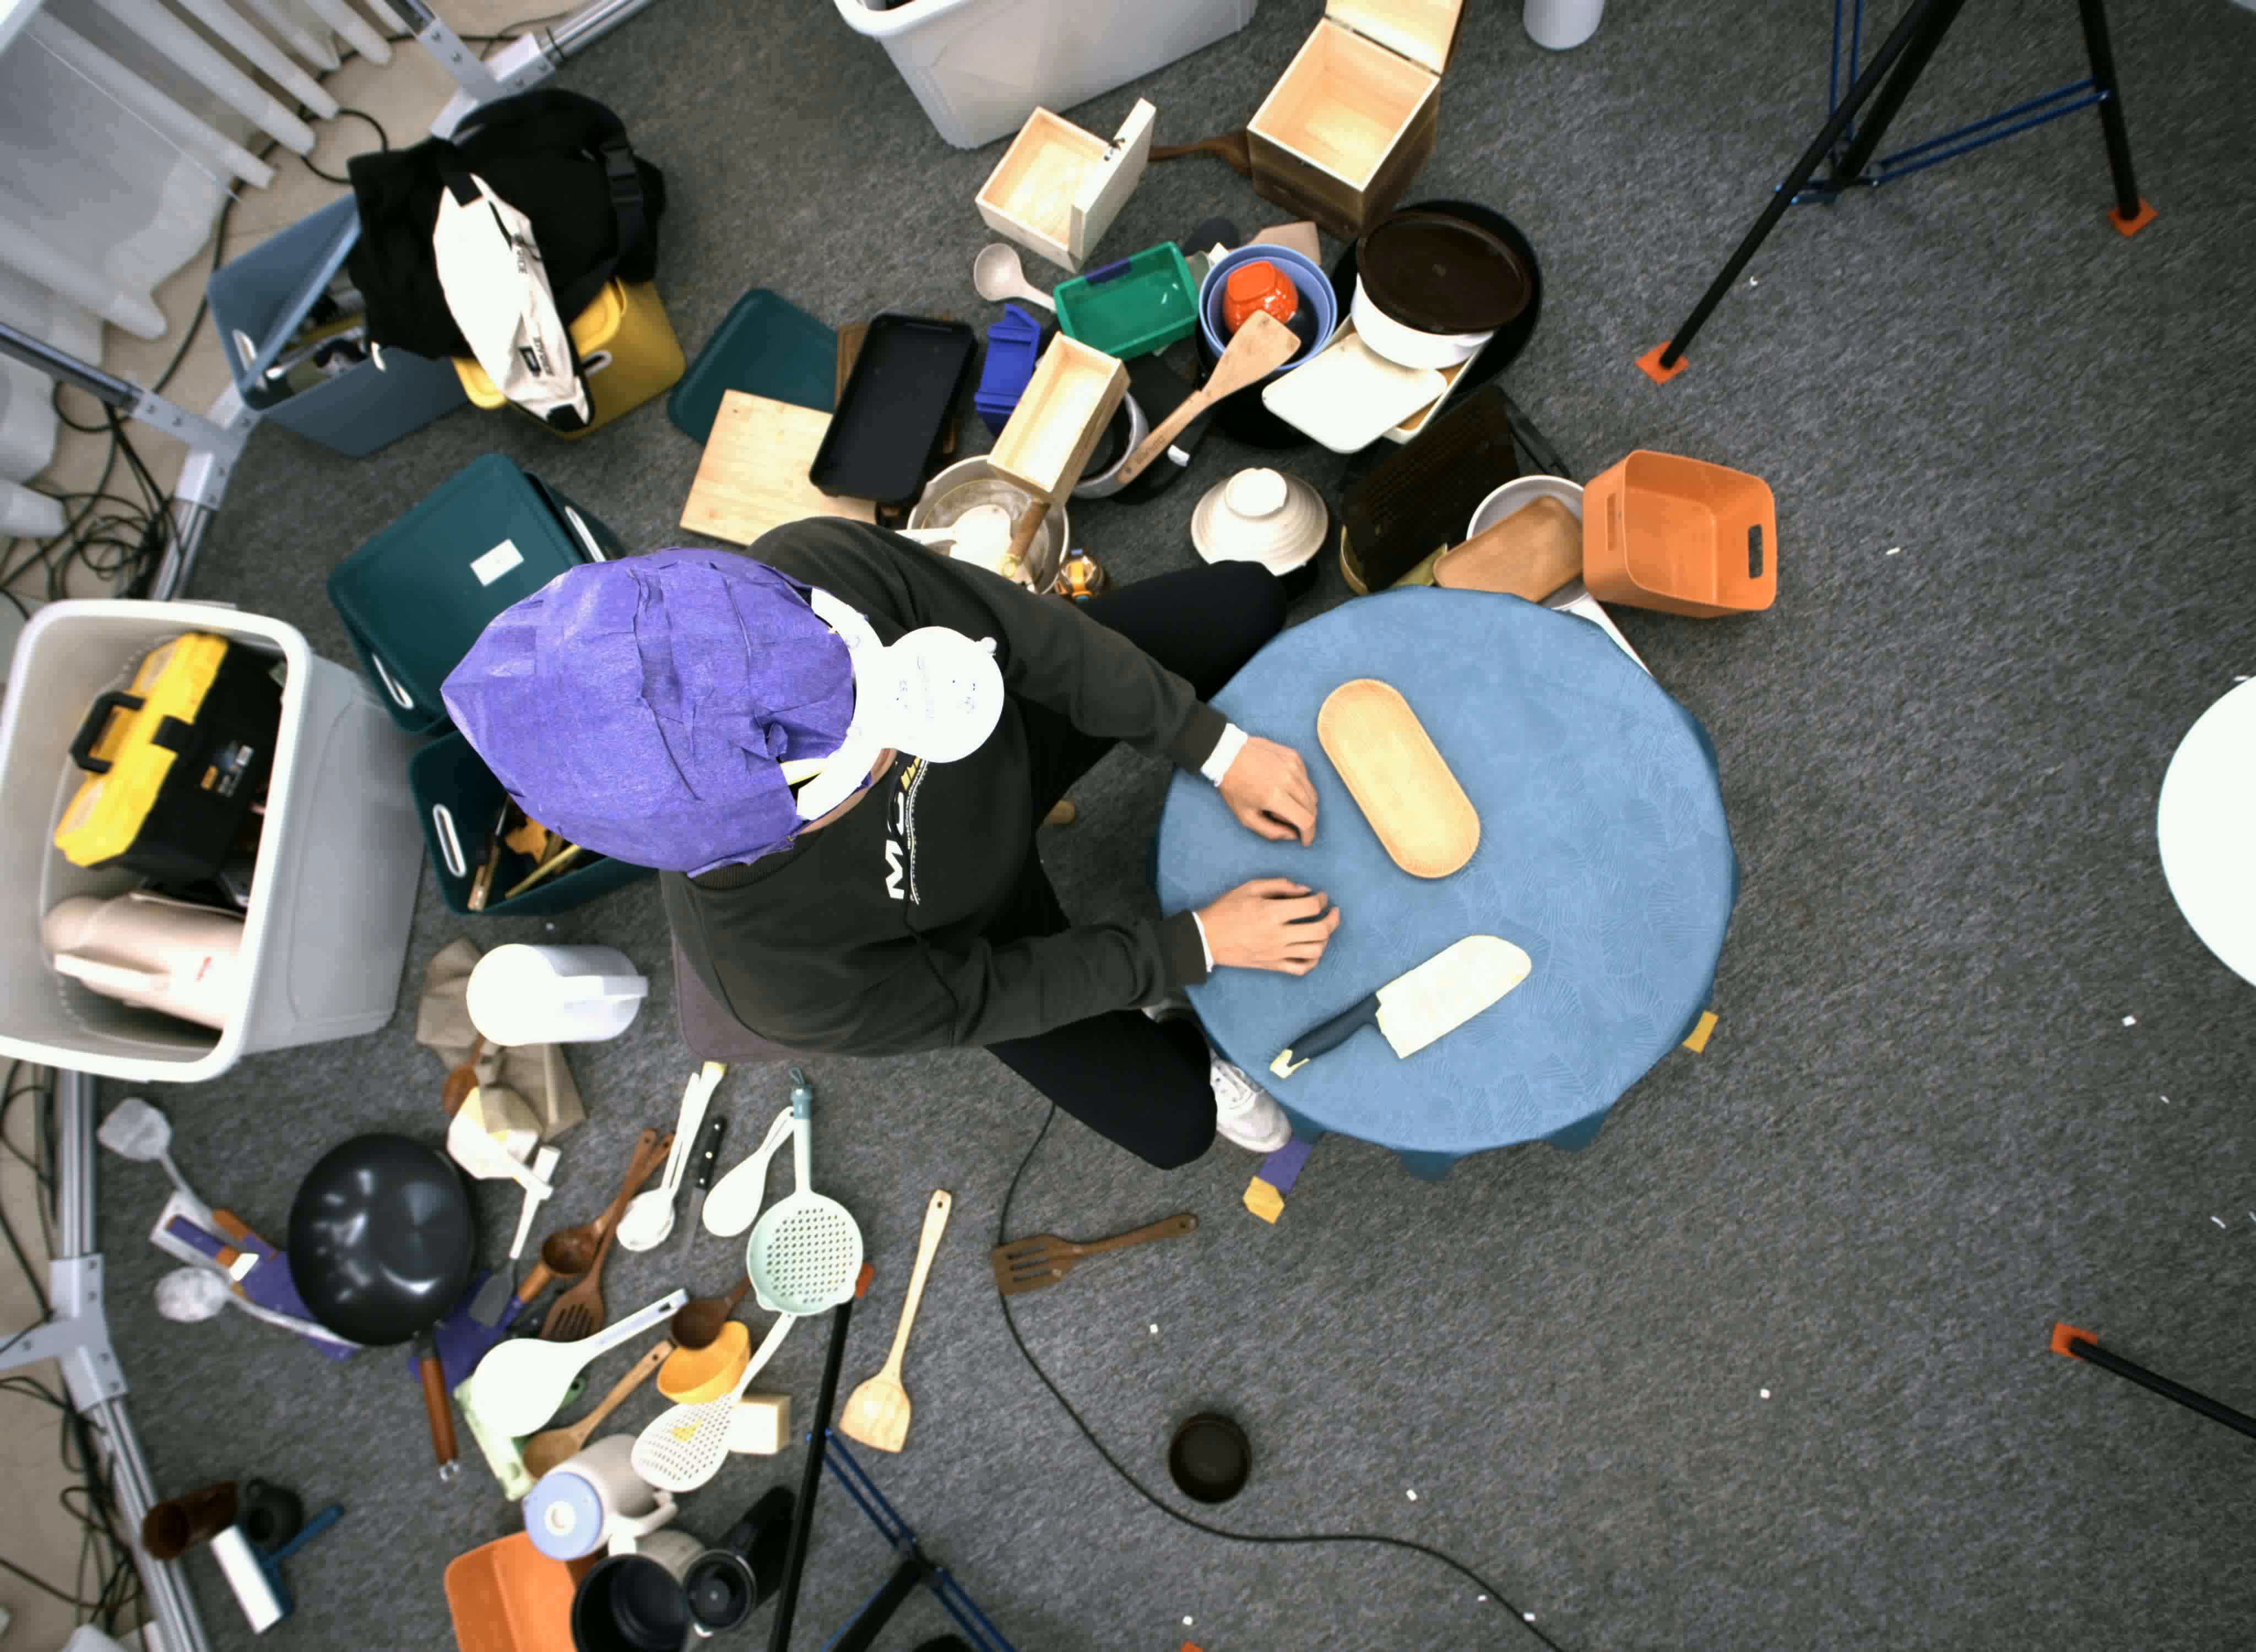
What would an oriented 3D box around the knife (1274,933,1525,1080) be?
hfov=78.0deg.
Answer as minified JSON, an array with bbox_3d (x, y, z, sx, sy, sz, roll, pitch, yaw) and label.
[{"bbox_3d":[0.286,0.196,1.443,0.291,0.027,0.080,-30,80,7],"label":"knife"}]

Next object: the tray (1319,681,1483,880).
[{"bbox_3d":[0.287,-0.050,1.455,0.102,0.020,0.230,-32,83,9],"label":"tray"}]
